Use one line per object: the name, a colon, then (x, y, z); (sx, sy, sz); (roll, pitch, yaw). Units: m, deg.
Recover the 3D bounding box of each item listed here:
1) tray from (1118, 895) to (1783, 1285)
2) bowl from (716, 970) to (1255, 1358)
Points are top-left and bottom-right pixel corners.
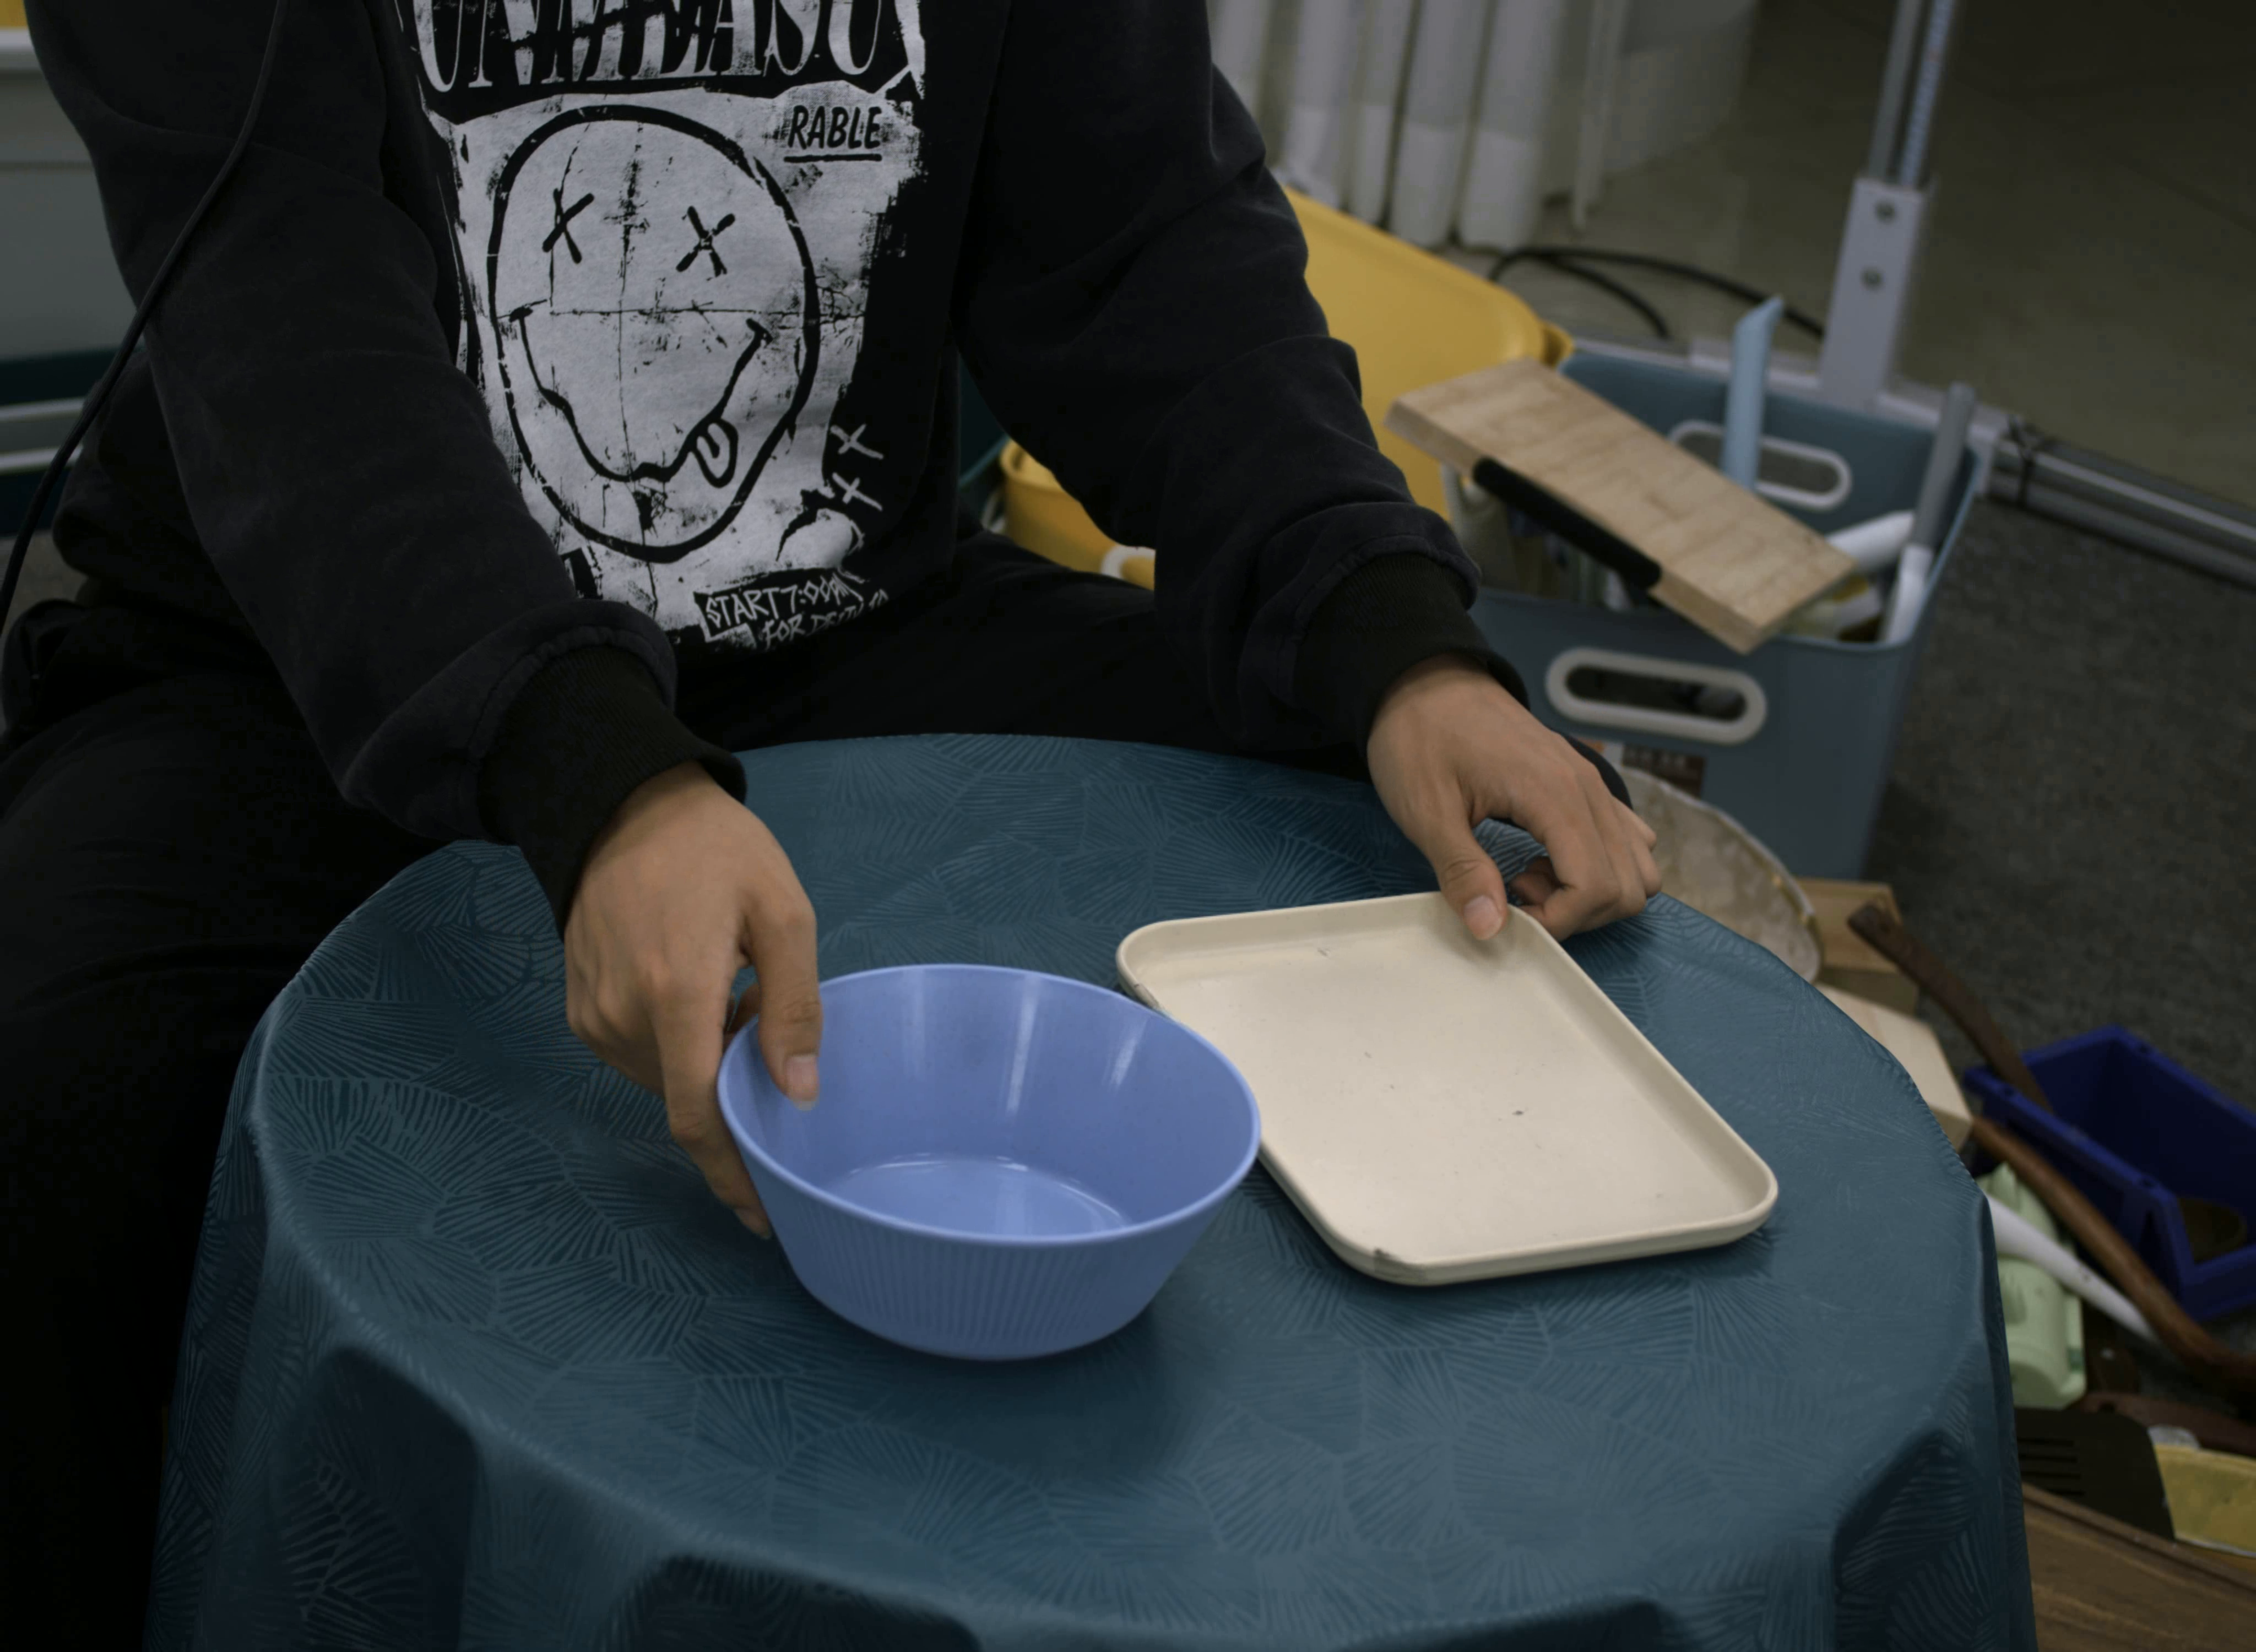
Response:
tray: (0.109, 0.091, 1.869); (0.170, 0.017, 0.242); (-5, 29, -23)
bowl: (-0.049, 0.116, 1.726); (0.175, 0.070, 0.177); (6, 26, -3)
